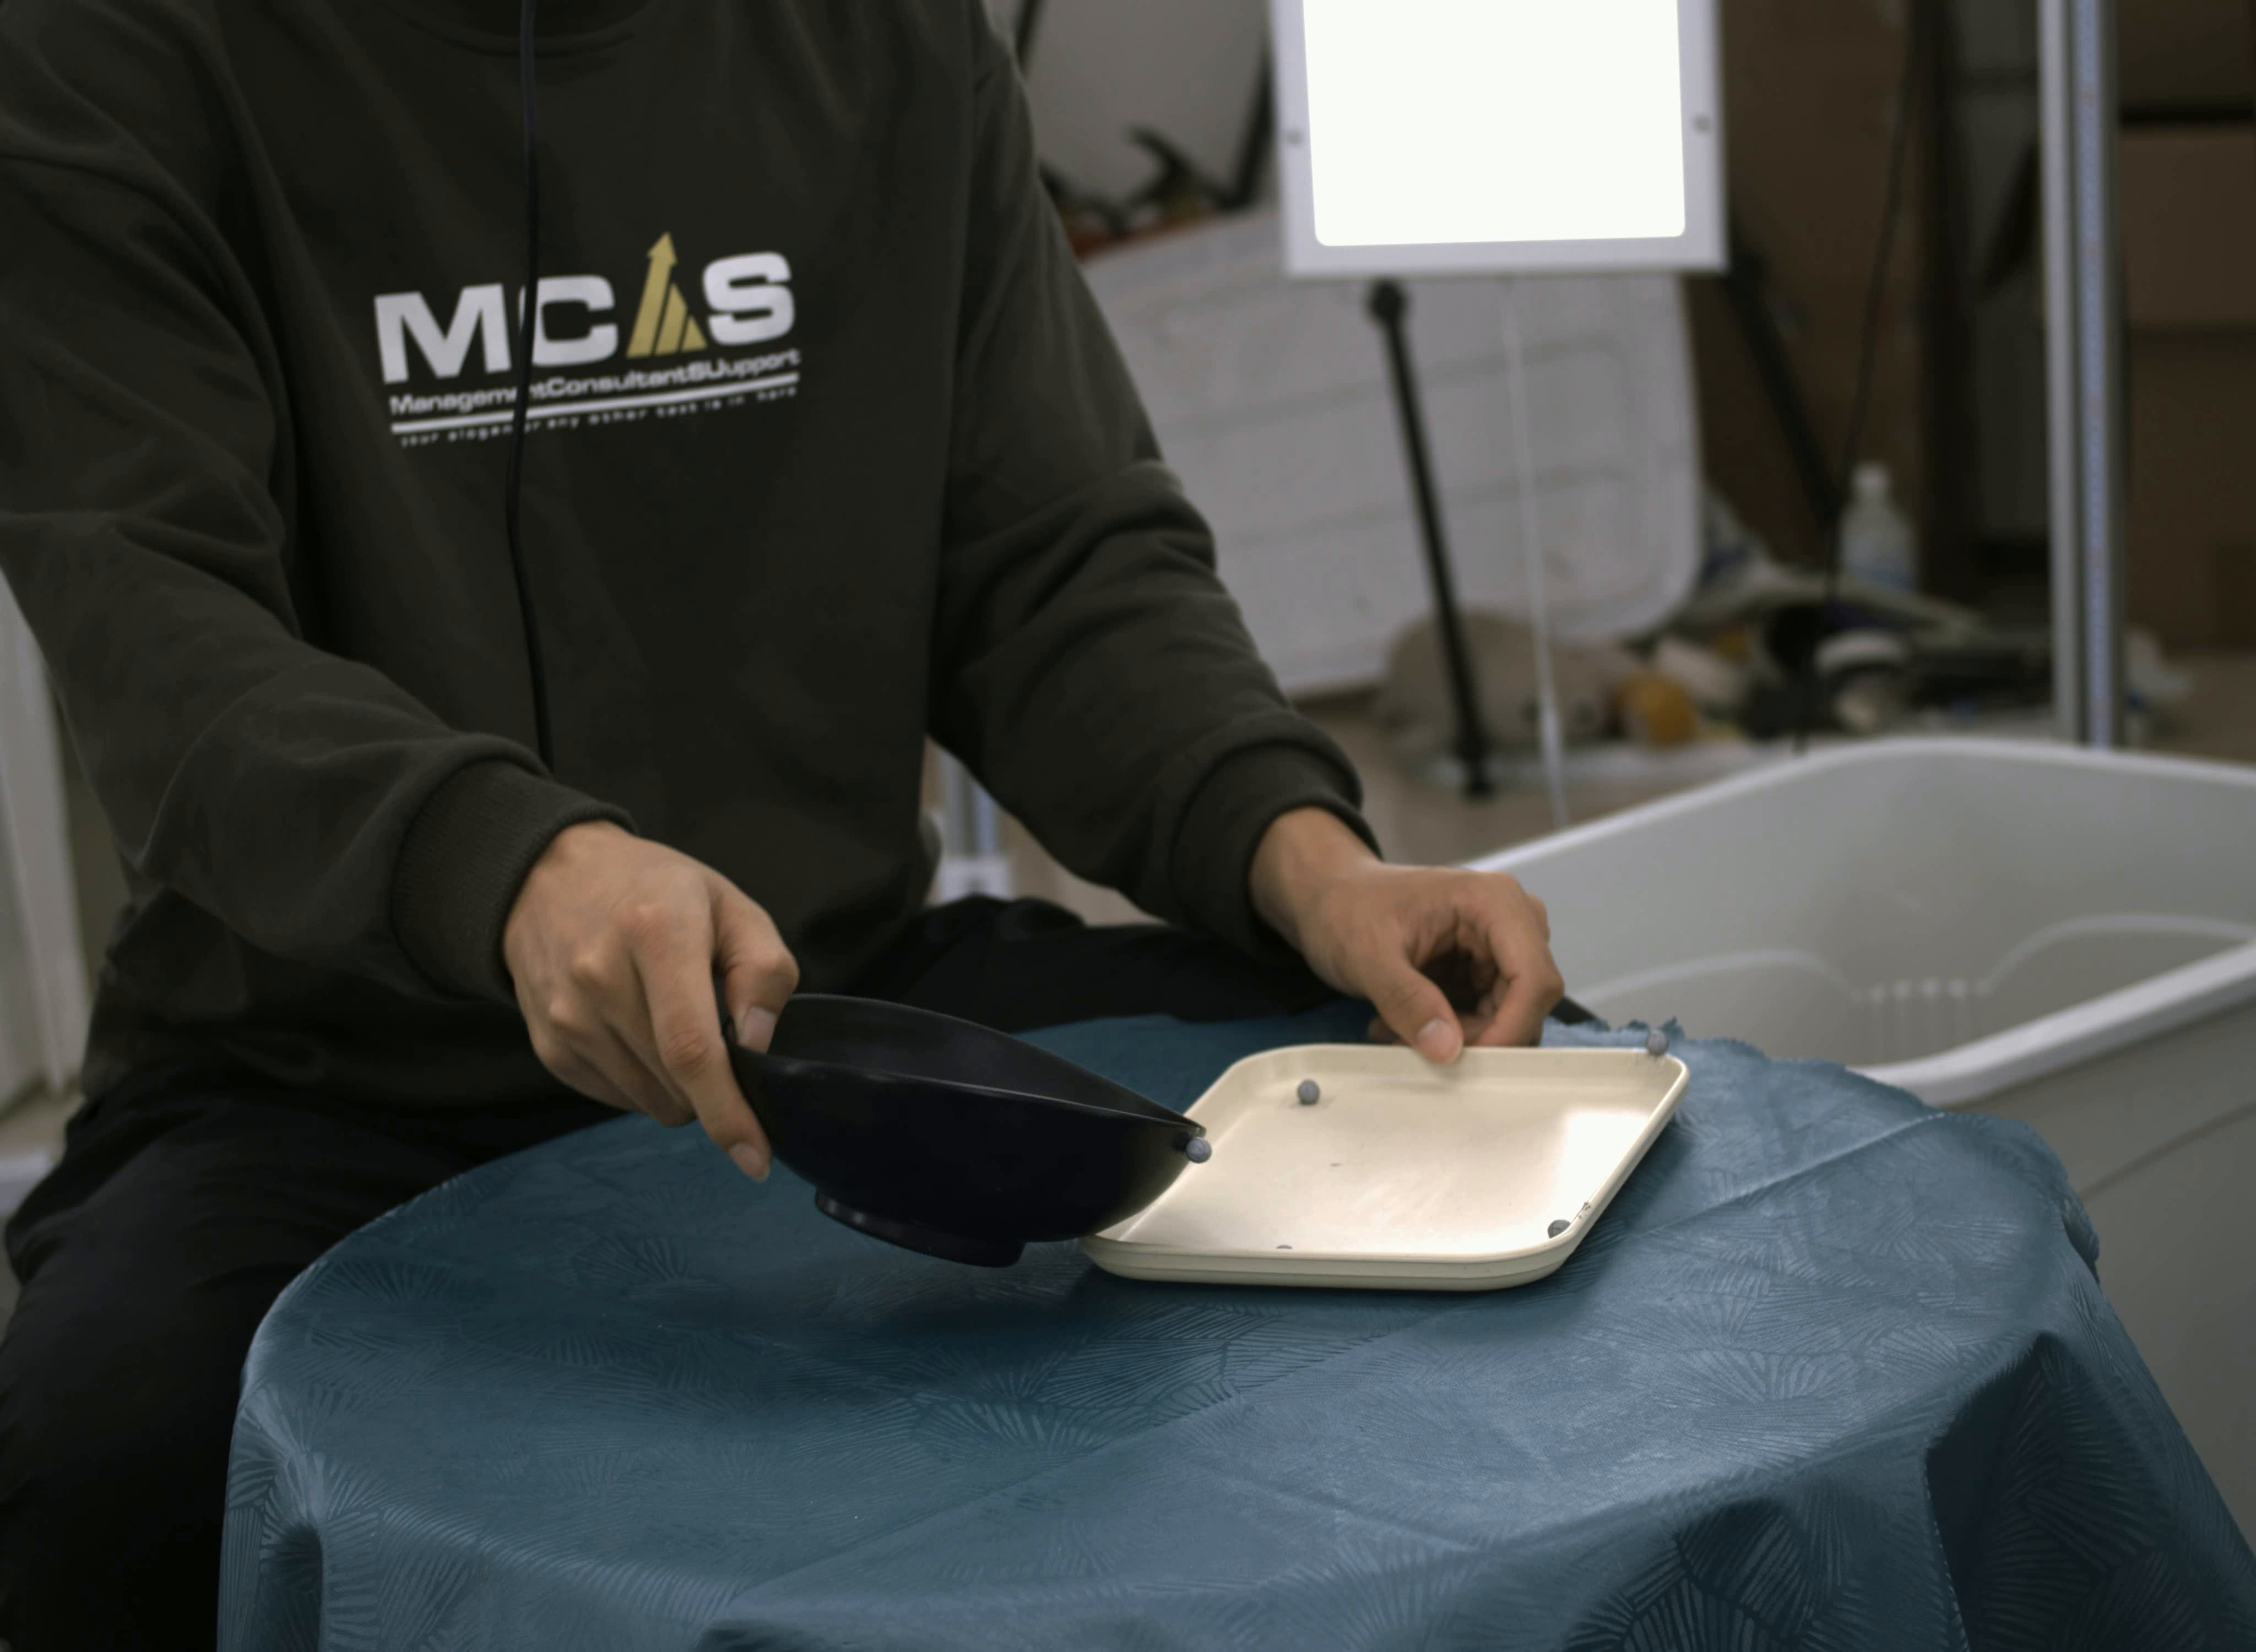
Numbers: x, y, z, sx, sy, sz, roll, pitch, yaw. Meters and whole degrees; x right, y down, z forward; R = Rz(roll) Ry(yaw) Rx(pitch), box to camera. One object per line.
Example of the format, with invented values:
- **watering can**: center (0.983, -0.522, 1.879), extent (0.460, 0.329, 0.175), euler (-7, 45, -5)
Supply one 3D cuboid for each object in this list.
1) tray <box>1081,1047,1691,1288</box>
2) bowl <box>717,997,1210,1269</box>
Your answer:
- **tray**: center (0.092, 0.116, 1.875), extent (0.173, 0.017, 0.236), euler (-1, 14, 19)
- **bowl**: center (-0.057, 0.104, 1.787), extent (0.166, 0.067, 0.140), euler (13, 5, -31)
